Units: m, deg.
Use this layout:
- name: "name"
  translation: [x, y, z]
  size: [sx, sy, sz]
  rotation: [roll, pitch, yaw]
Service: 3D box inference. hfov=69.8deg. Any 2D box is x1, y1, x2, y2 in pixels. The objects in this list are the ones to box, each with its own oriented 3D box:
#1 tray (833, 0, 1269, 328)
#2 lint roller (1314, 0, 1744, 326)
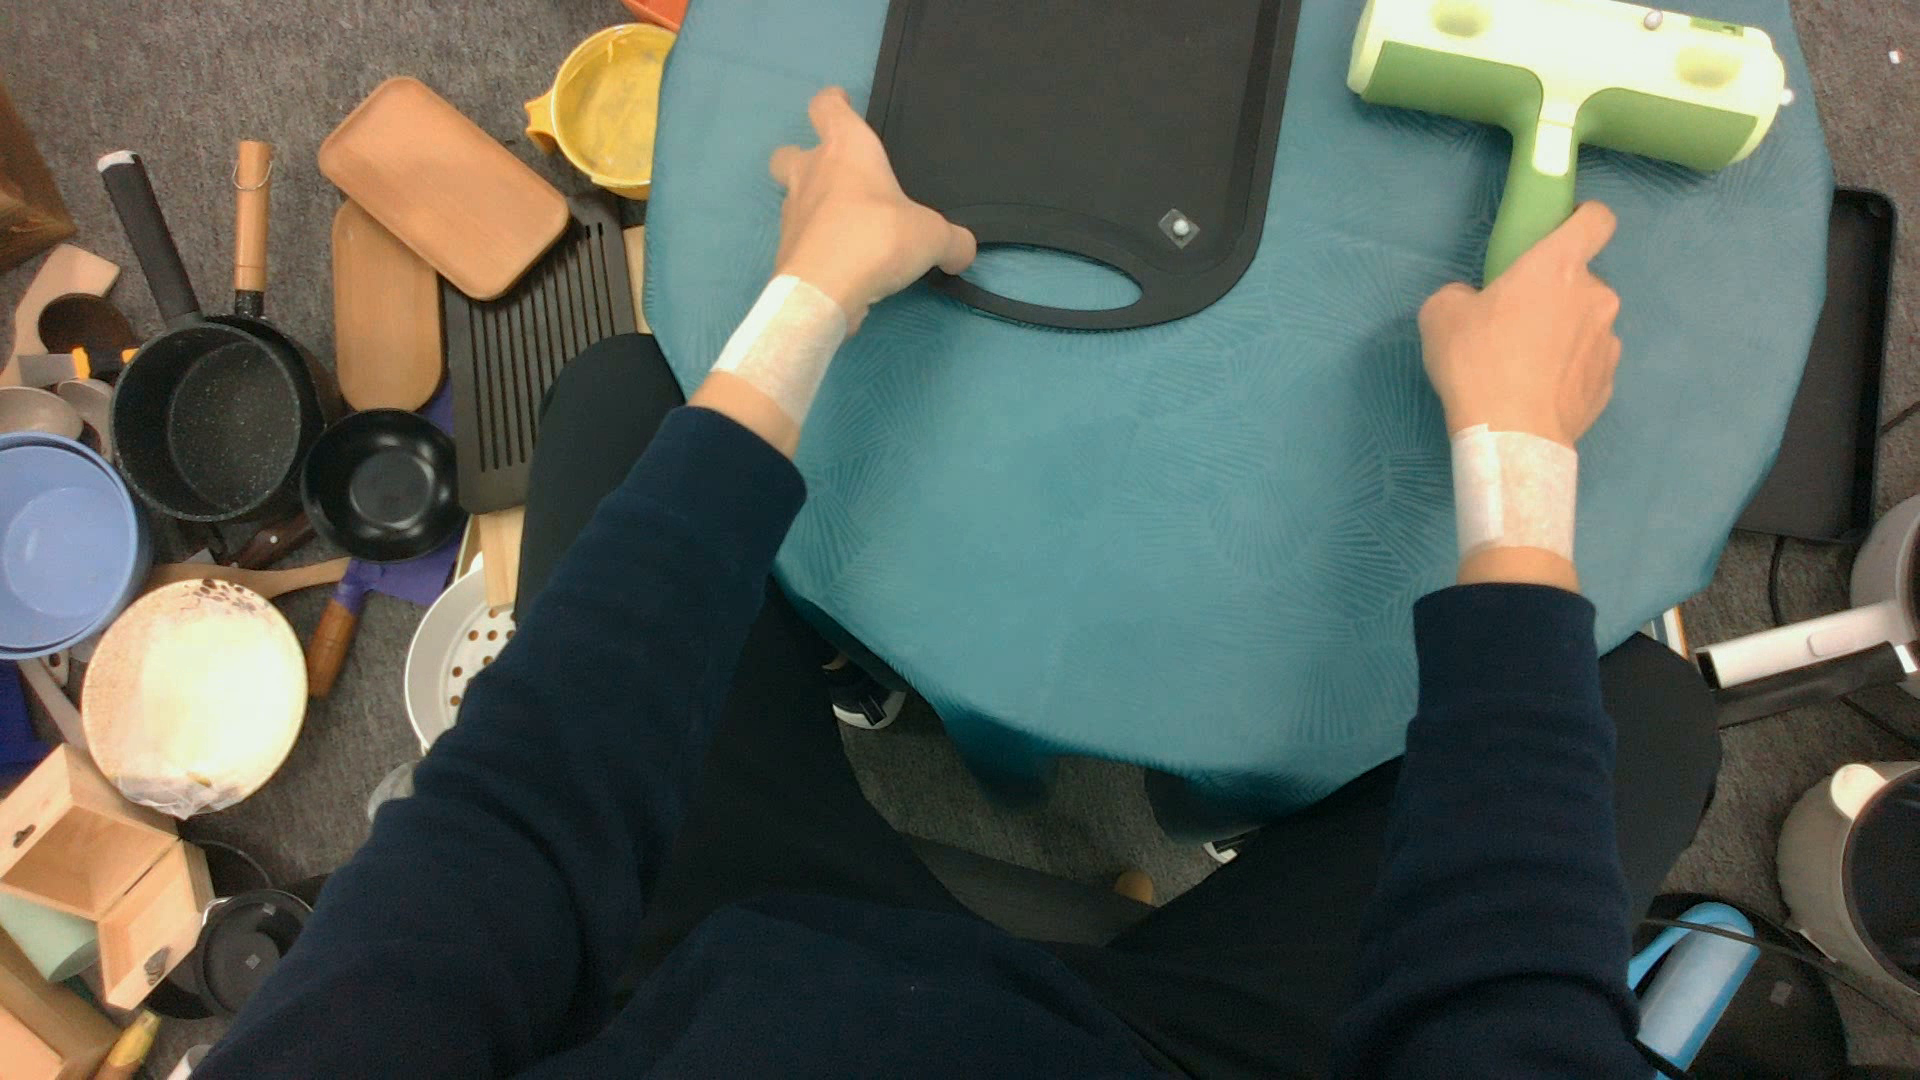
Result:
- name: "tray"
  translation: [0.054, -0.269, 0.714]
  size: [0.211, 0.010, 0.326]
  rotation: [8, 82, 1]
- name: "lint roller"
  translation: [0.269, -0.195, 0.652]
  size: [0.198, 0.082, 0.184]
  rotation: [10, 65, 4]
